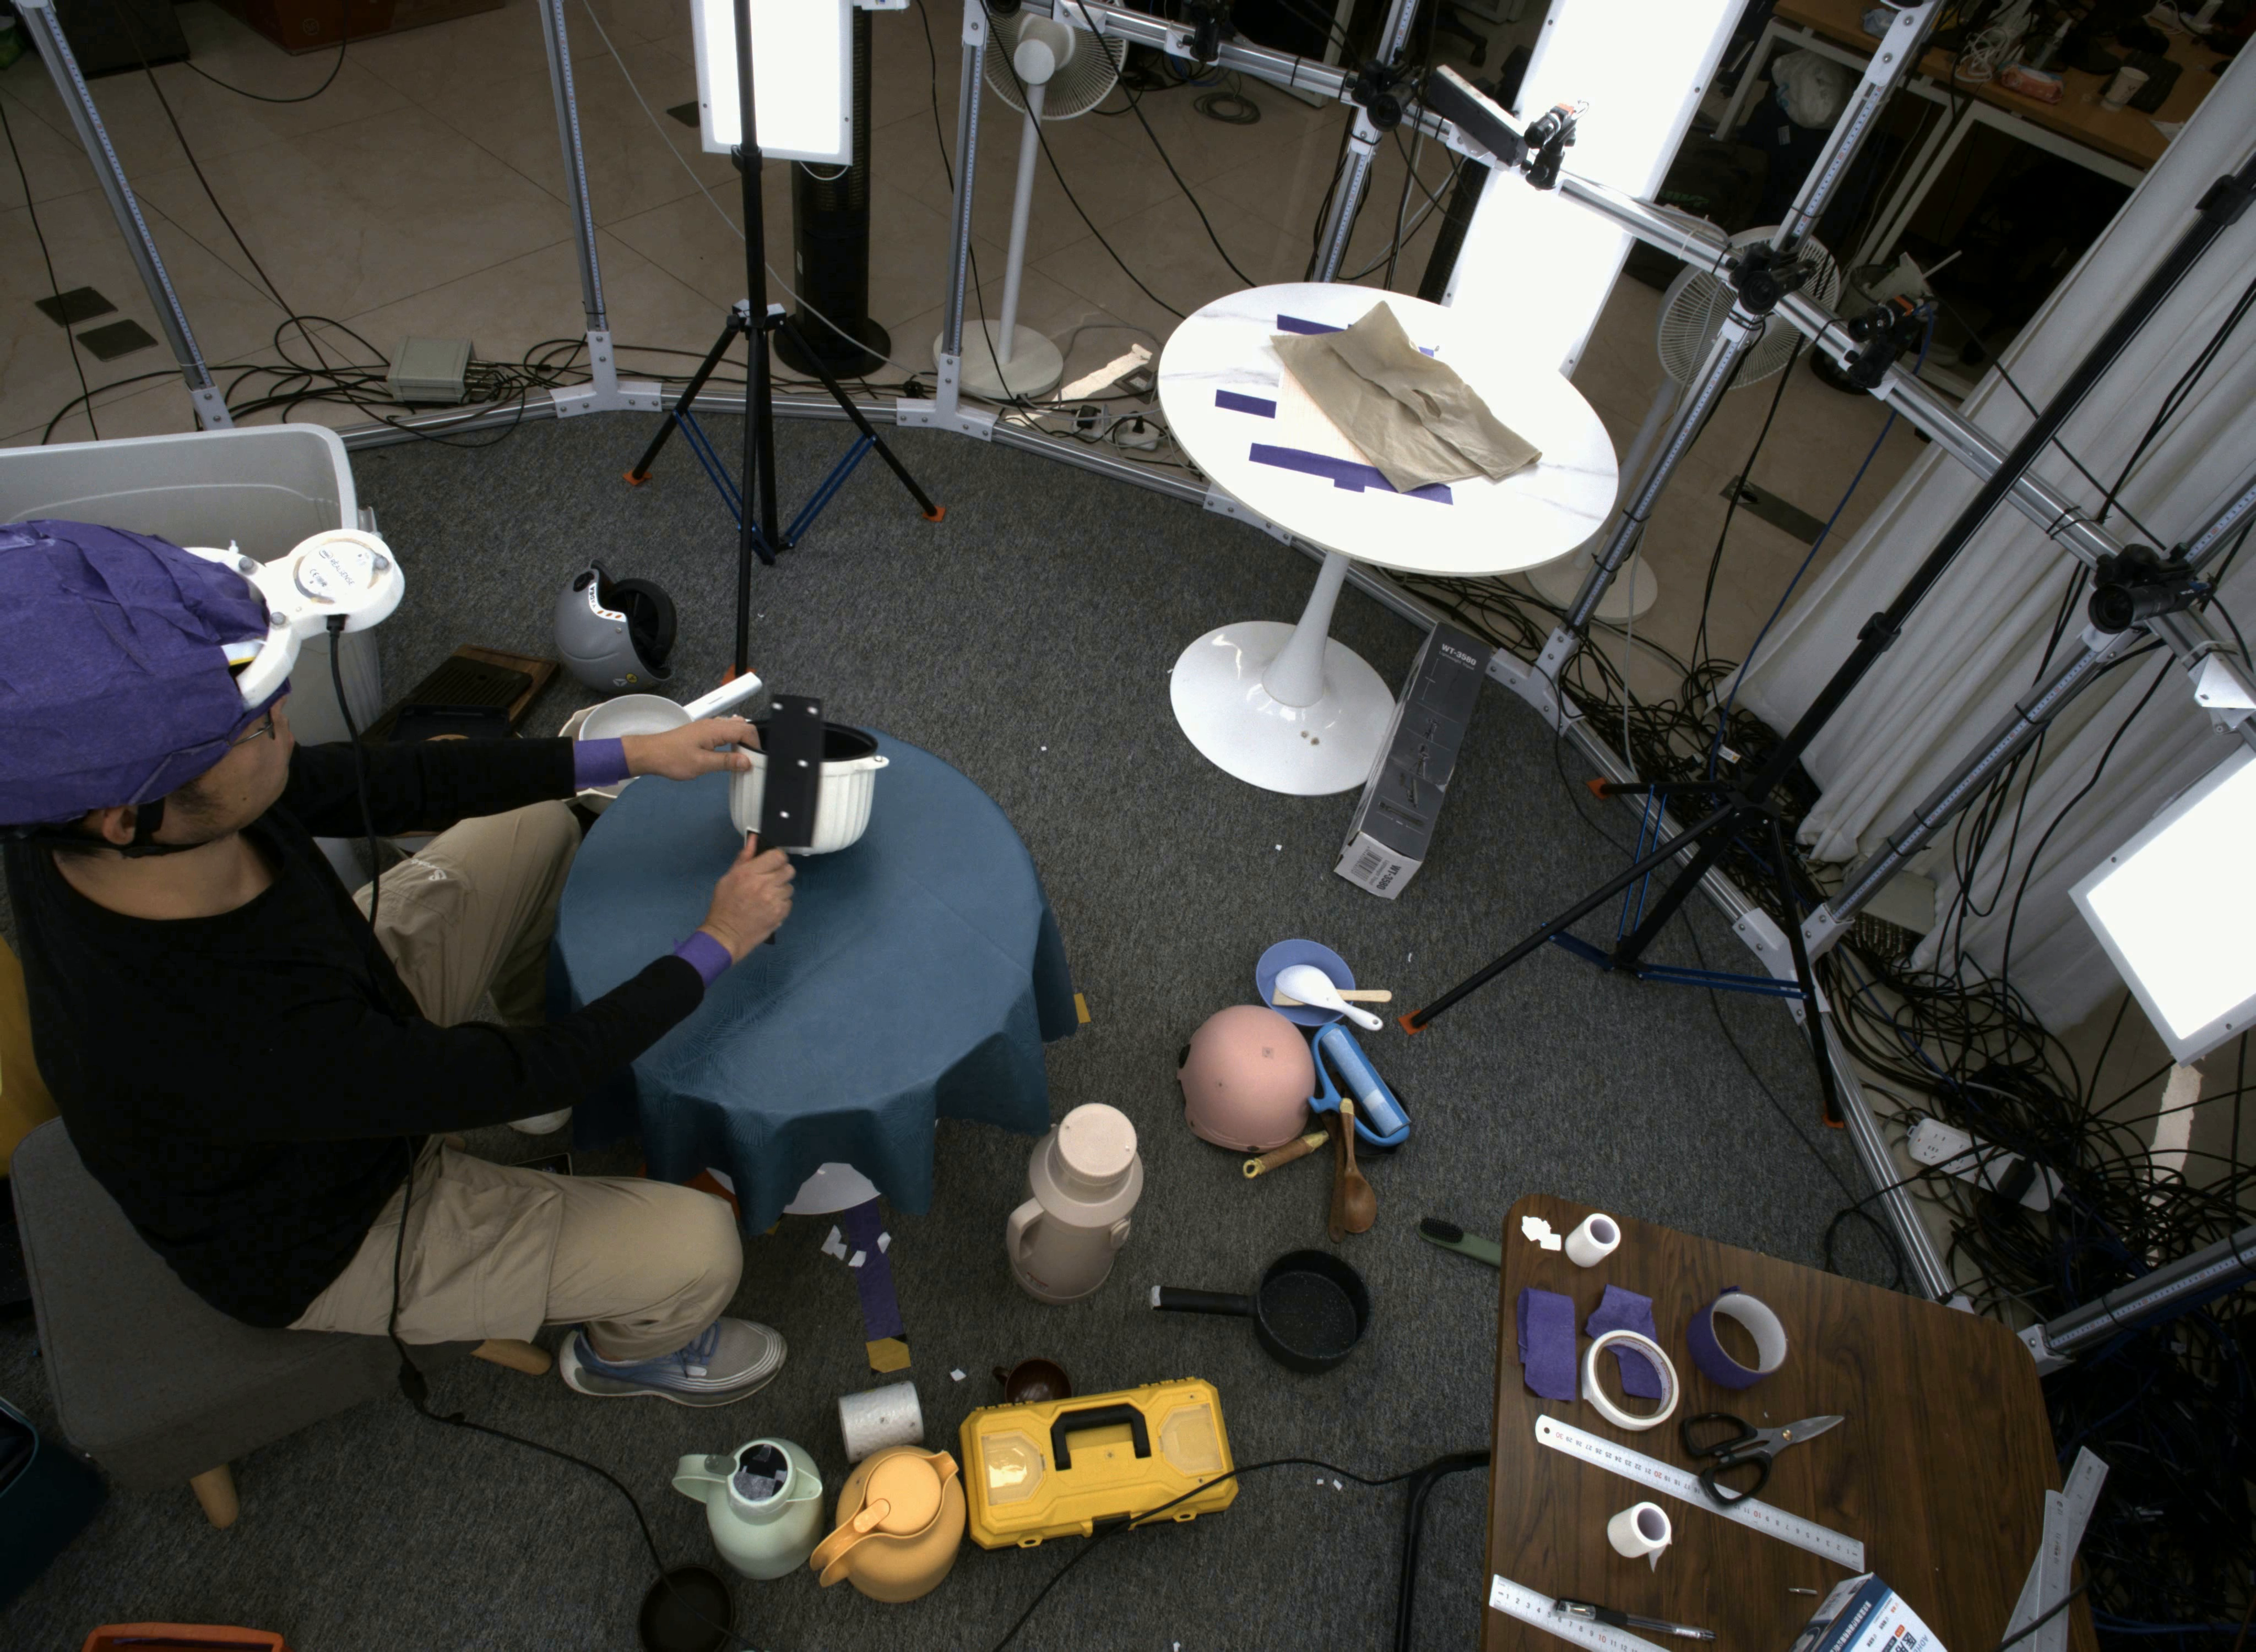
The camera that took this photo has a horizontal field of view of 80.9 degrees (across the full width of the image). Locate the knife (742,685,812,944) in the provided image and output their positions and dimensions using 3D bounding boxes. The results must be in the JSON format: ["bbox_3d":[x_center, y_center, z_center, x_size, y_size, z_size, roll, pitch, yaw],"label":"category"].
[{"bbox_3d":[-0.415,-0.012,1.524,0.082,0.307,0.020,6,9,-28],"label":"knife"}]

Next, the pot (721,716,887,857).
[{"bbox_3d":[-0.414,-0.052,1.645,0.234,0.146,0.191,16,23,16],"label":"pot"}]
